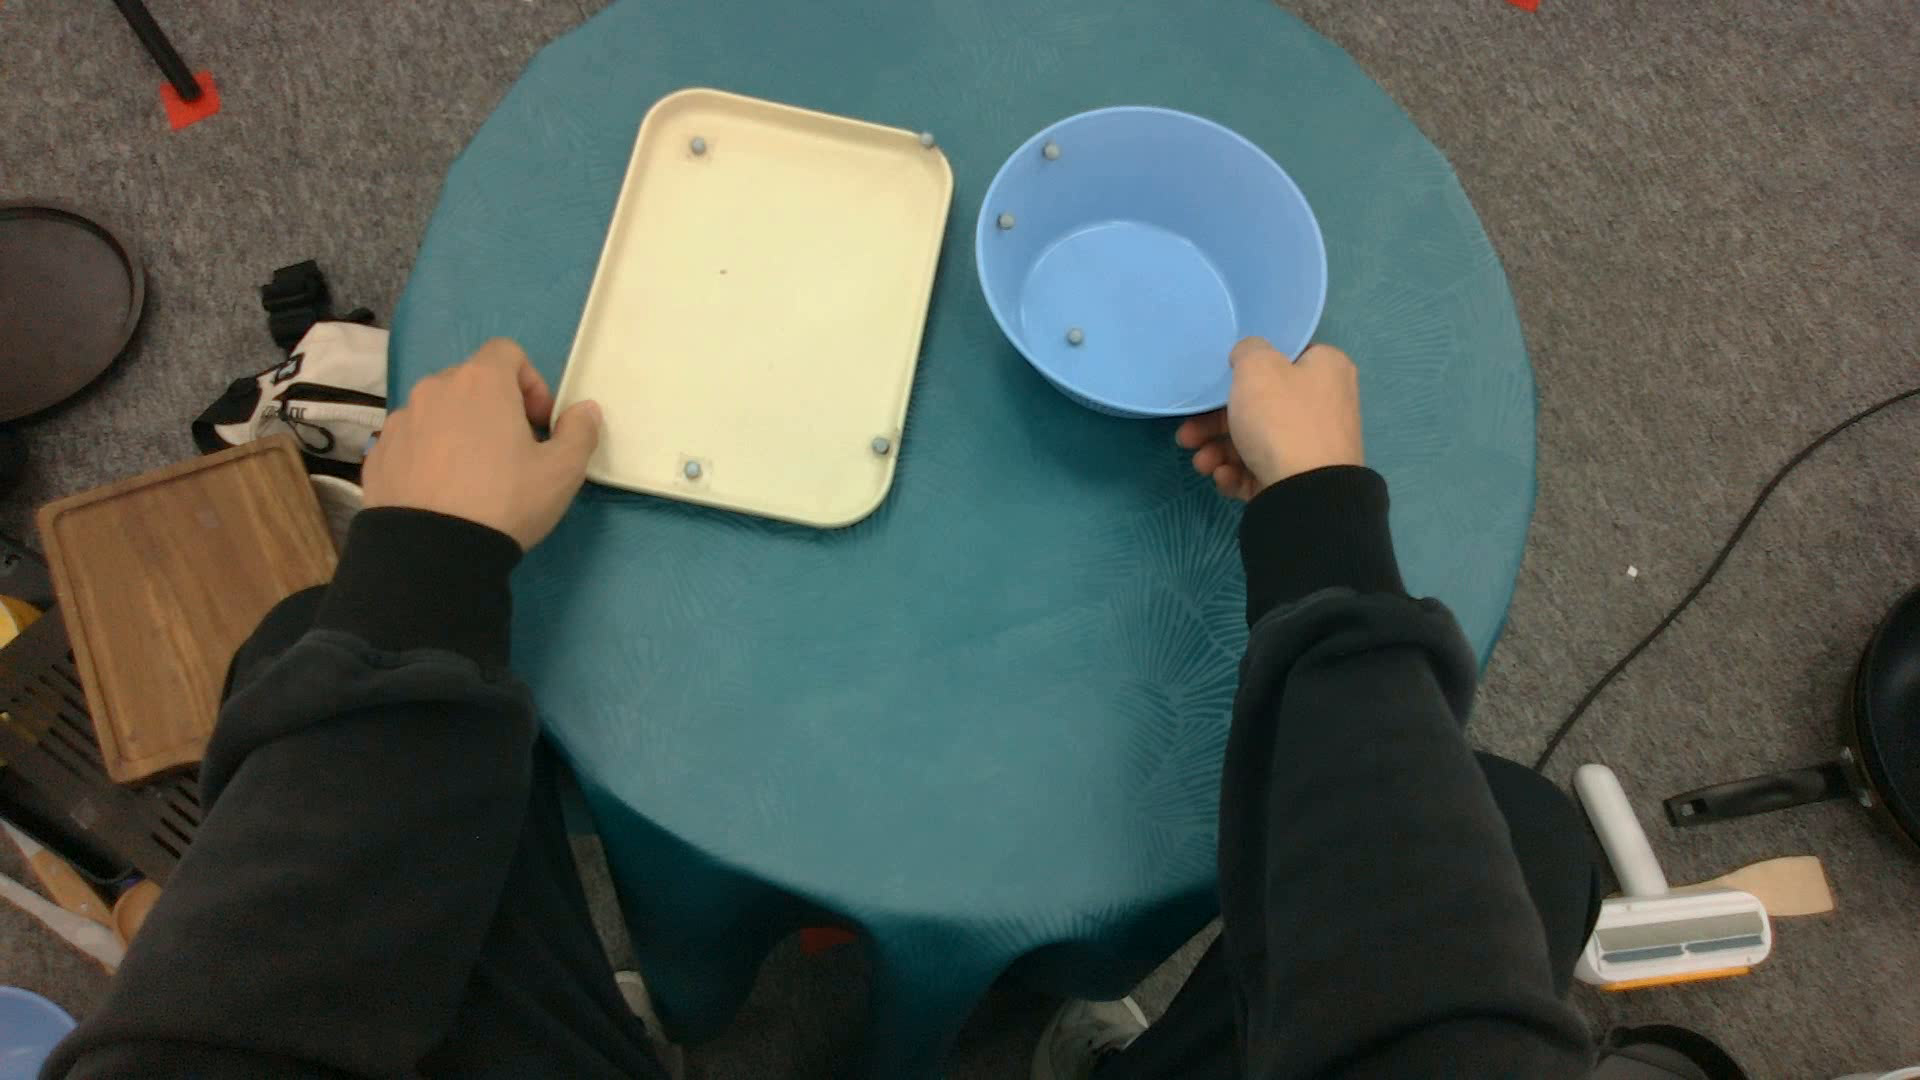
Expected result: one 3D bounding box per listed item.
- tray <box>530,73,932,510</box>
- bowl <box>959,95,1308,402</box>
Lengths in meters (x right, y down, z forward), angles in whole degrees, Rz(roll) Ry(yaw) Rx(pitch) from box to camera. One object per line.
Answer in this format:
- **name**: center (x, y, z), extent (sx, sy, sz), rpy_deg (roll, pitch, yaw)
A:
- **tray**: center (-0.113, -0.133, 0.715), extent (0.171, 0.017, 0.240), rpy_deg (11, 68, -2)
- **bowl**: center (0.084, -0.138, 0.711), extent (0.176, 0.070, 0.176), rpy_deg (2, 68, -5)
